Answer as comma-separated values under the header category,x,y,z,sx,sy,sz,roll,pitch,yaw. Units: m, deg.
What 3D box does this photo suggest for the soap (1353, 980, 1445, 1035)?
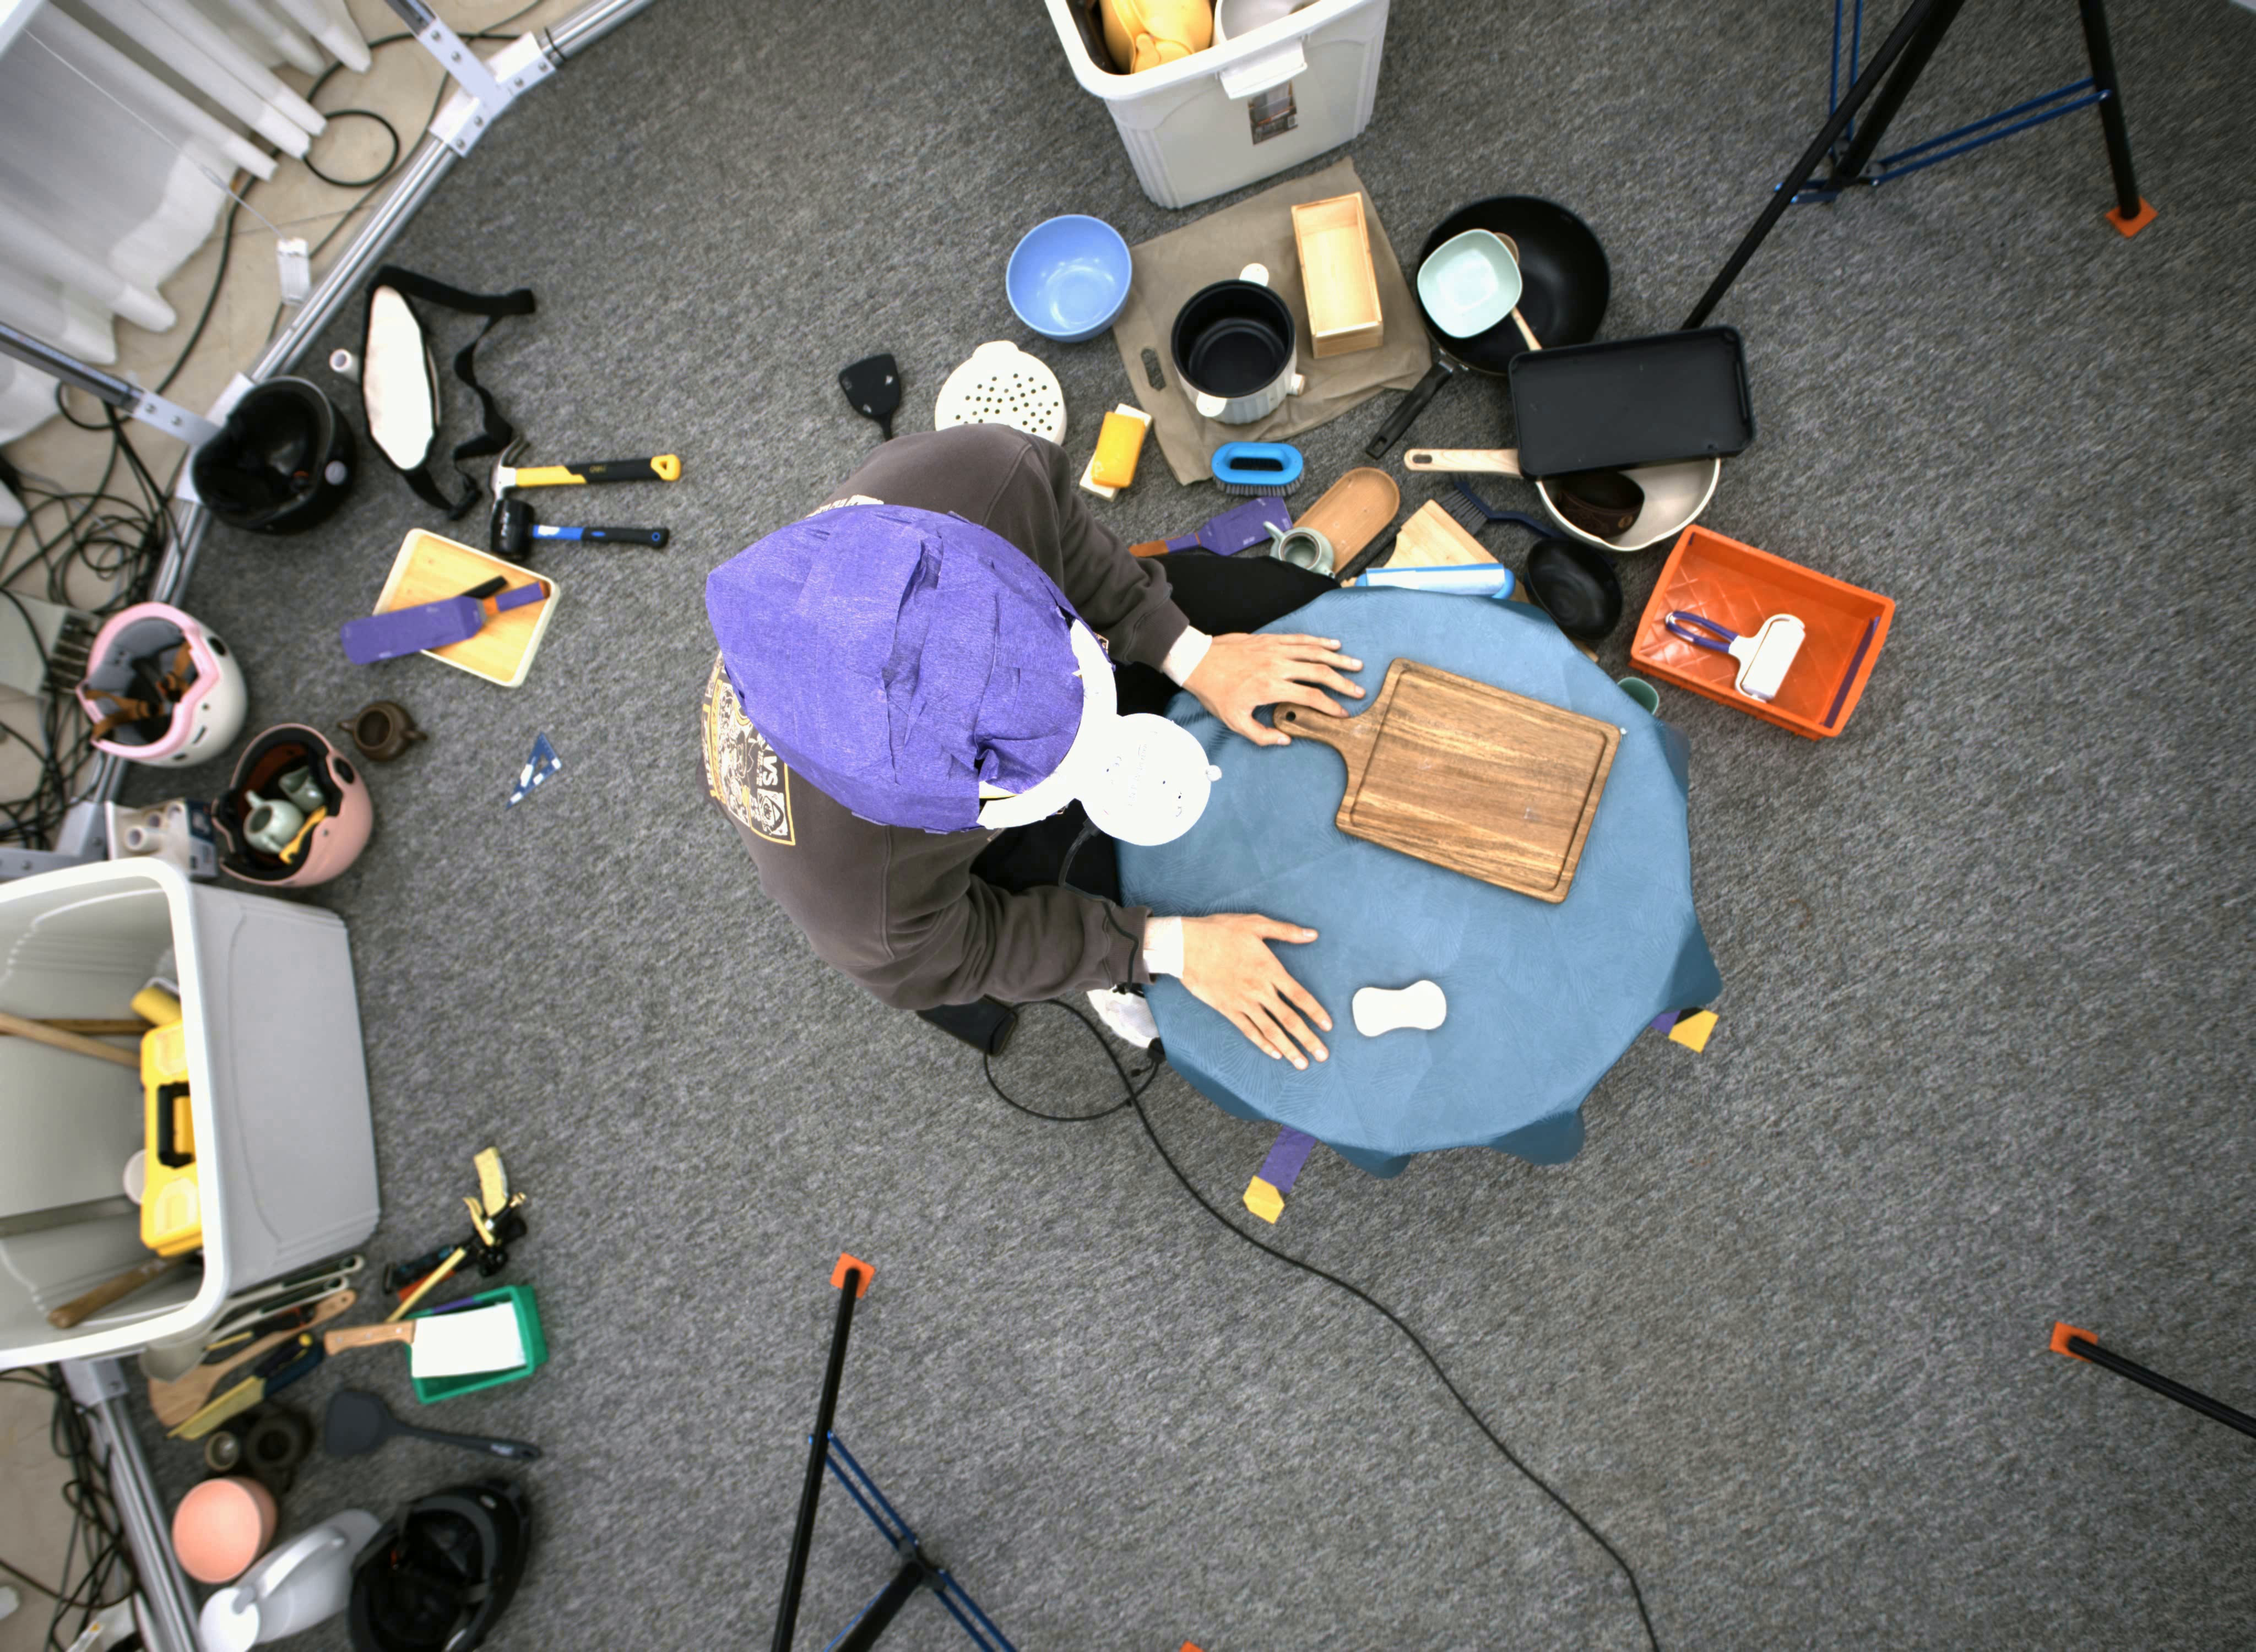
category,x,y,z,sx,sy,sz,roll,pitch,yaw
soap,0.281,0.187,1.436,0.095,0.030,0.050,-8,85,12

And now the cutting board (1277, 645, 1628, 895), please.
category,x,y,z,sx,sy,sz,roll,pitch,yaw
cutting board,0.325,-0.079,1.444,0.352,0.023,0.201,20,91,11
